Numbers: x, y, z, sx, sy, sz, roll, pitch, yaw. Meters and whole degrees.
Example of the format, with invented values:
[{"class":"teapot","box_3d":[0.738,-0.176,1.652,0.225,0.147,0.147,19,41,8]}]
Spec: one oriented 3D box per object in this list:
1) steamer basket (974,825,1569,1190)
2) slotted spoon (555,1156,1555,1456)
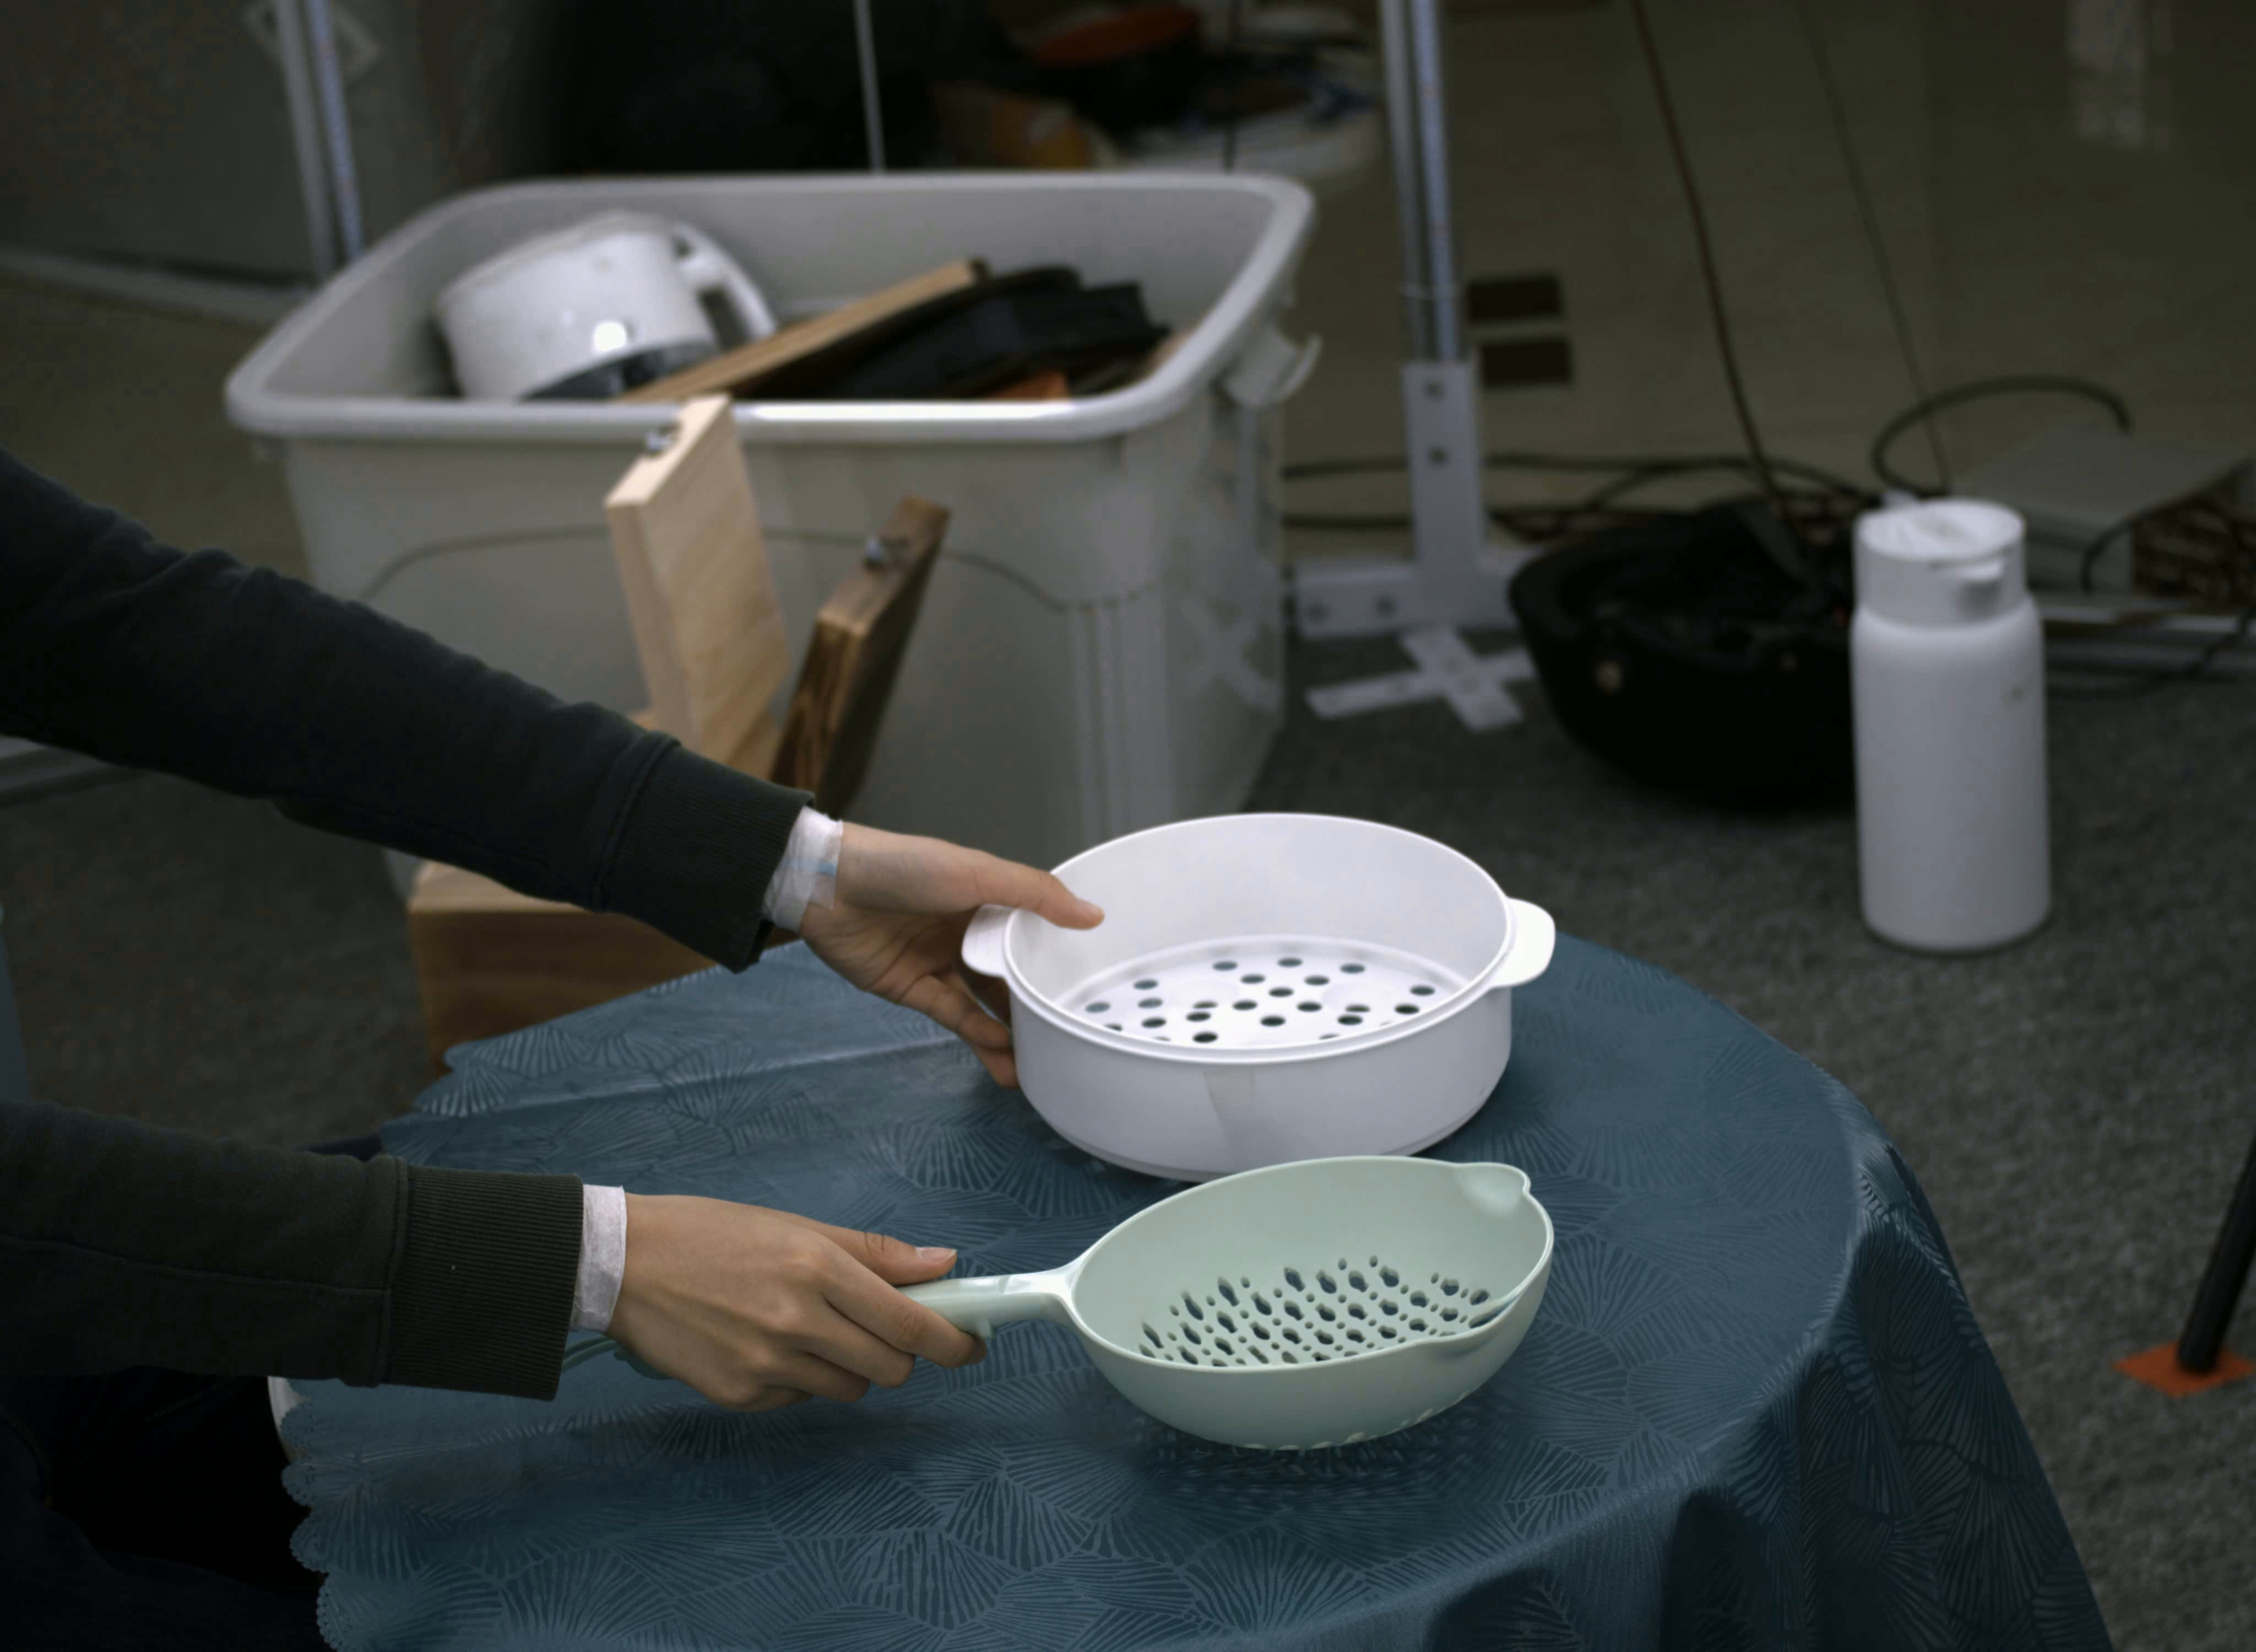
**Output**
[{"class":"steamer basket","box_3d":[0.057,0.071,2.202,0.230,0.070,0.199,0,26,8]},{"class":"slotted spoon","box_3d":[-0.030,0.172,1.997,0.358,0.076,0.167,2,22,8]}]
